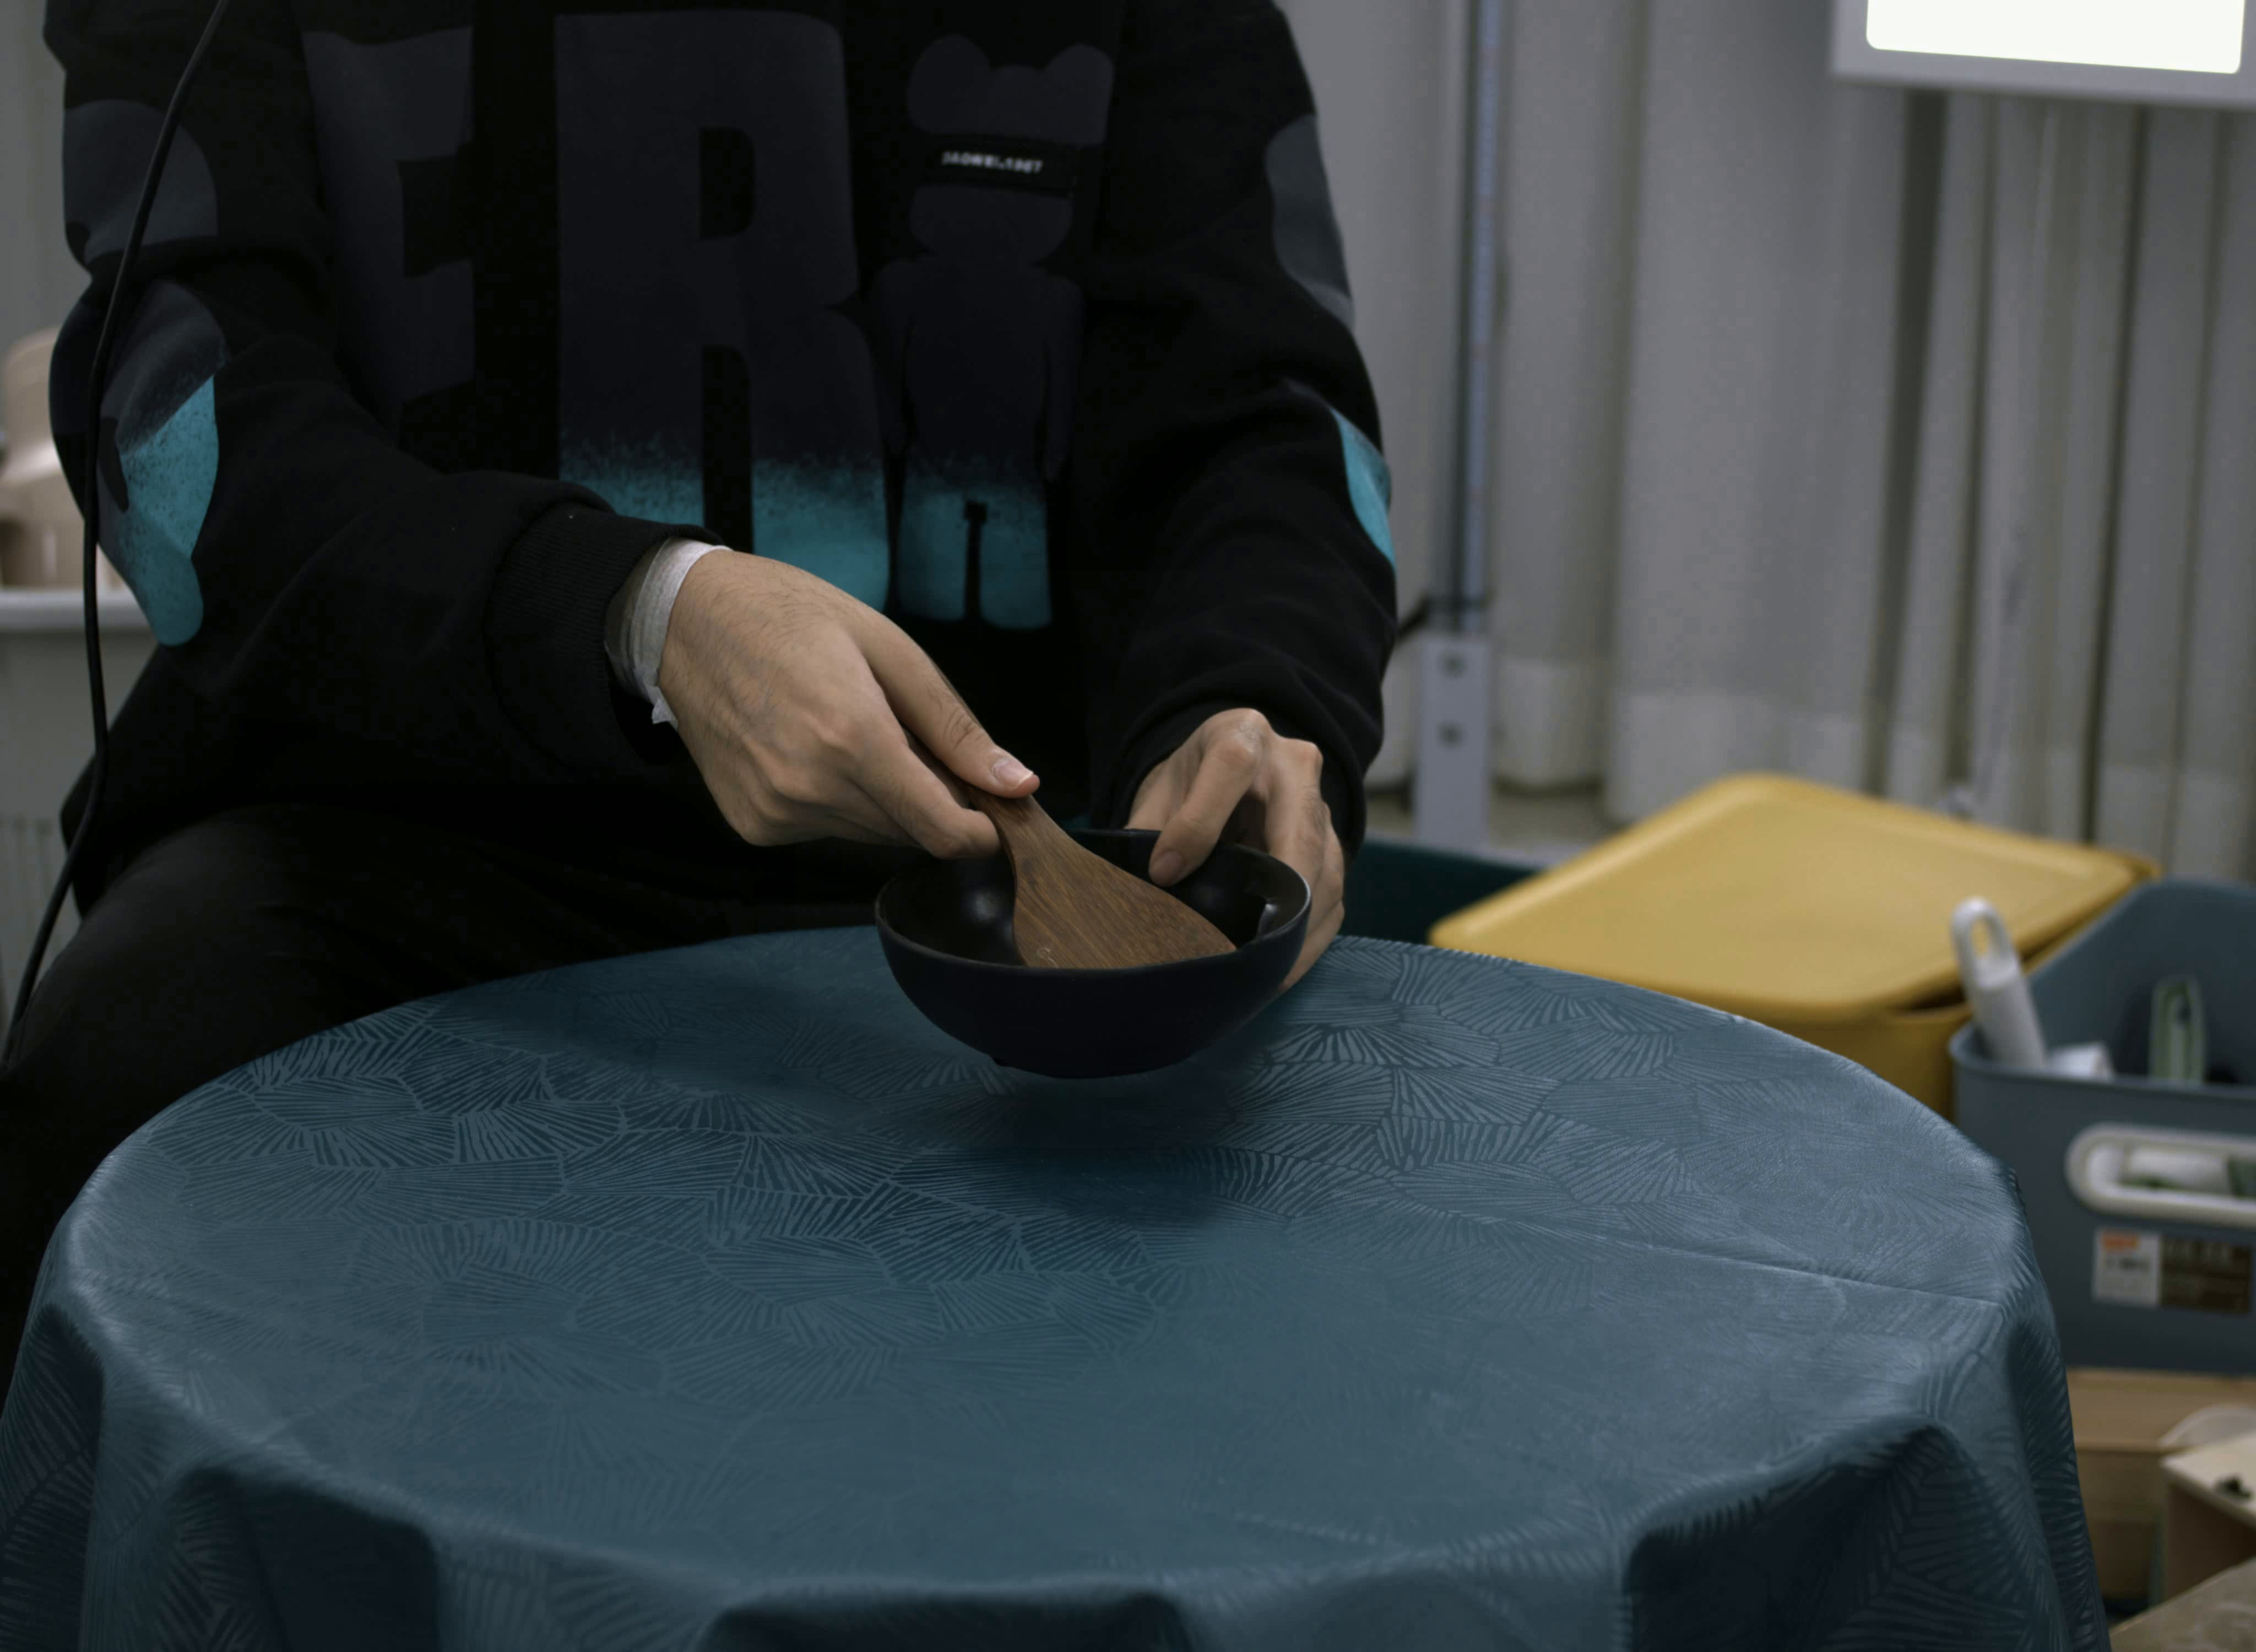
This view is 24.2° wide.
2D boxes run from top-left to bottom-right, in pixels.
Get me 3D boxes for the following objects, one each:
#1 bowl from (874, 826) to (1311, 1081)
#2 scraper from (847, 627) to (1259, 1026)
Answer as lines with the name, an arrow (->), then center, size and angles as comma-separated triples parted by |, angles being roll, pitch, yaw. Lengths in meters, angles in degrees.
bowl -> -0.010, 0.045, 1.670 | 0.139, 0.050, 0.139 | -3, 19, 2
scraper -> -0.034, -0.002, 1.694 | 0.076, 0.011, 0.208 | -11, 43, -30
